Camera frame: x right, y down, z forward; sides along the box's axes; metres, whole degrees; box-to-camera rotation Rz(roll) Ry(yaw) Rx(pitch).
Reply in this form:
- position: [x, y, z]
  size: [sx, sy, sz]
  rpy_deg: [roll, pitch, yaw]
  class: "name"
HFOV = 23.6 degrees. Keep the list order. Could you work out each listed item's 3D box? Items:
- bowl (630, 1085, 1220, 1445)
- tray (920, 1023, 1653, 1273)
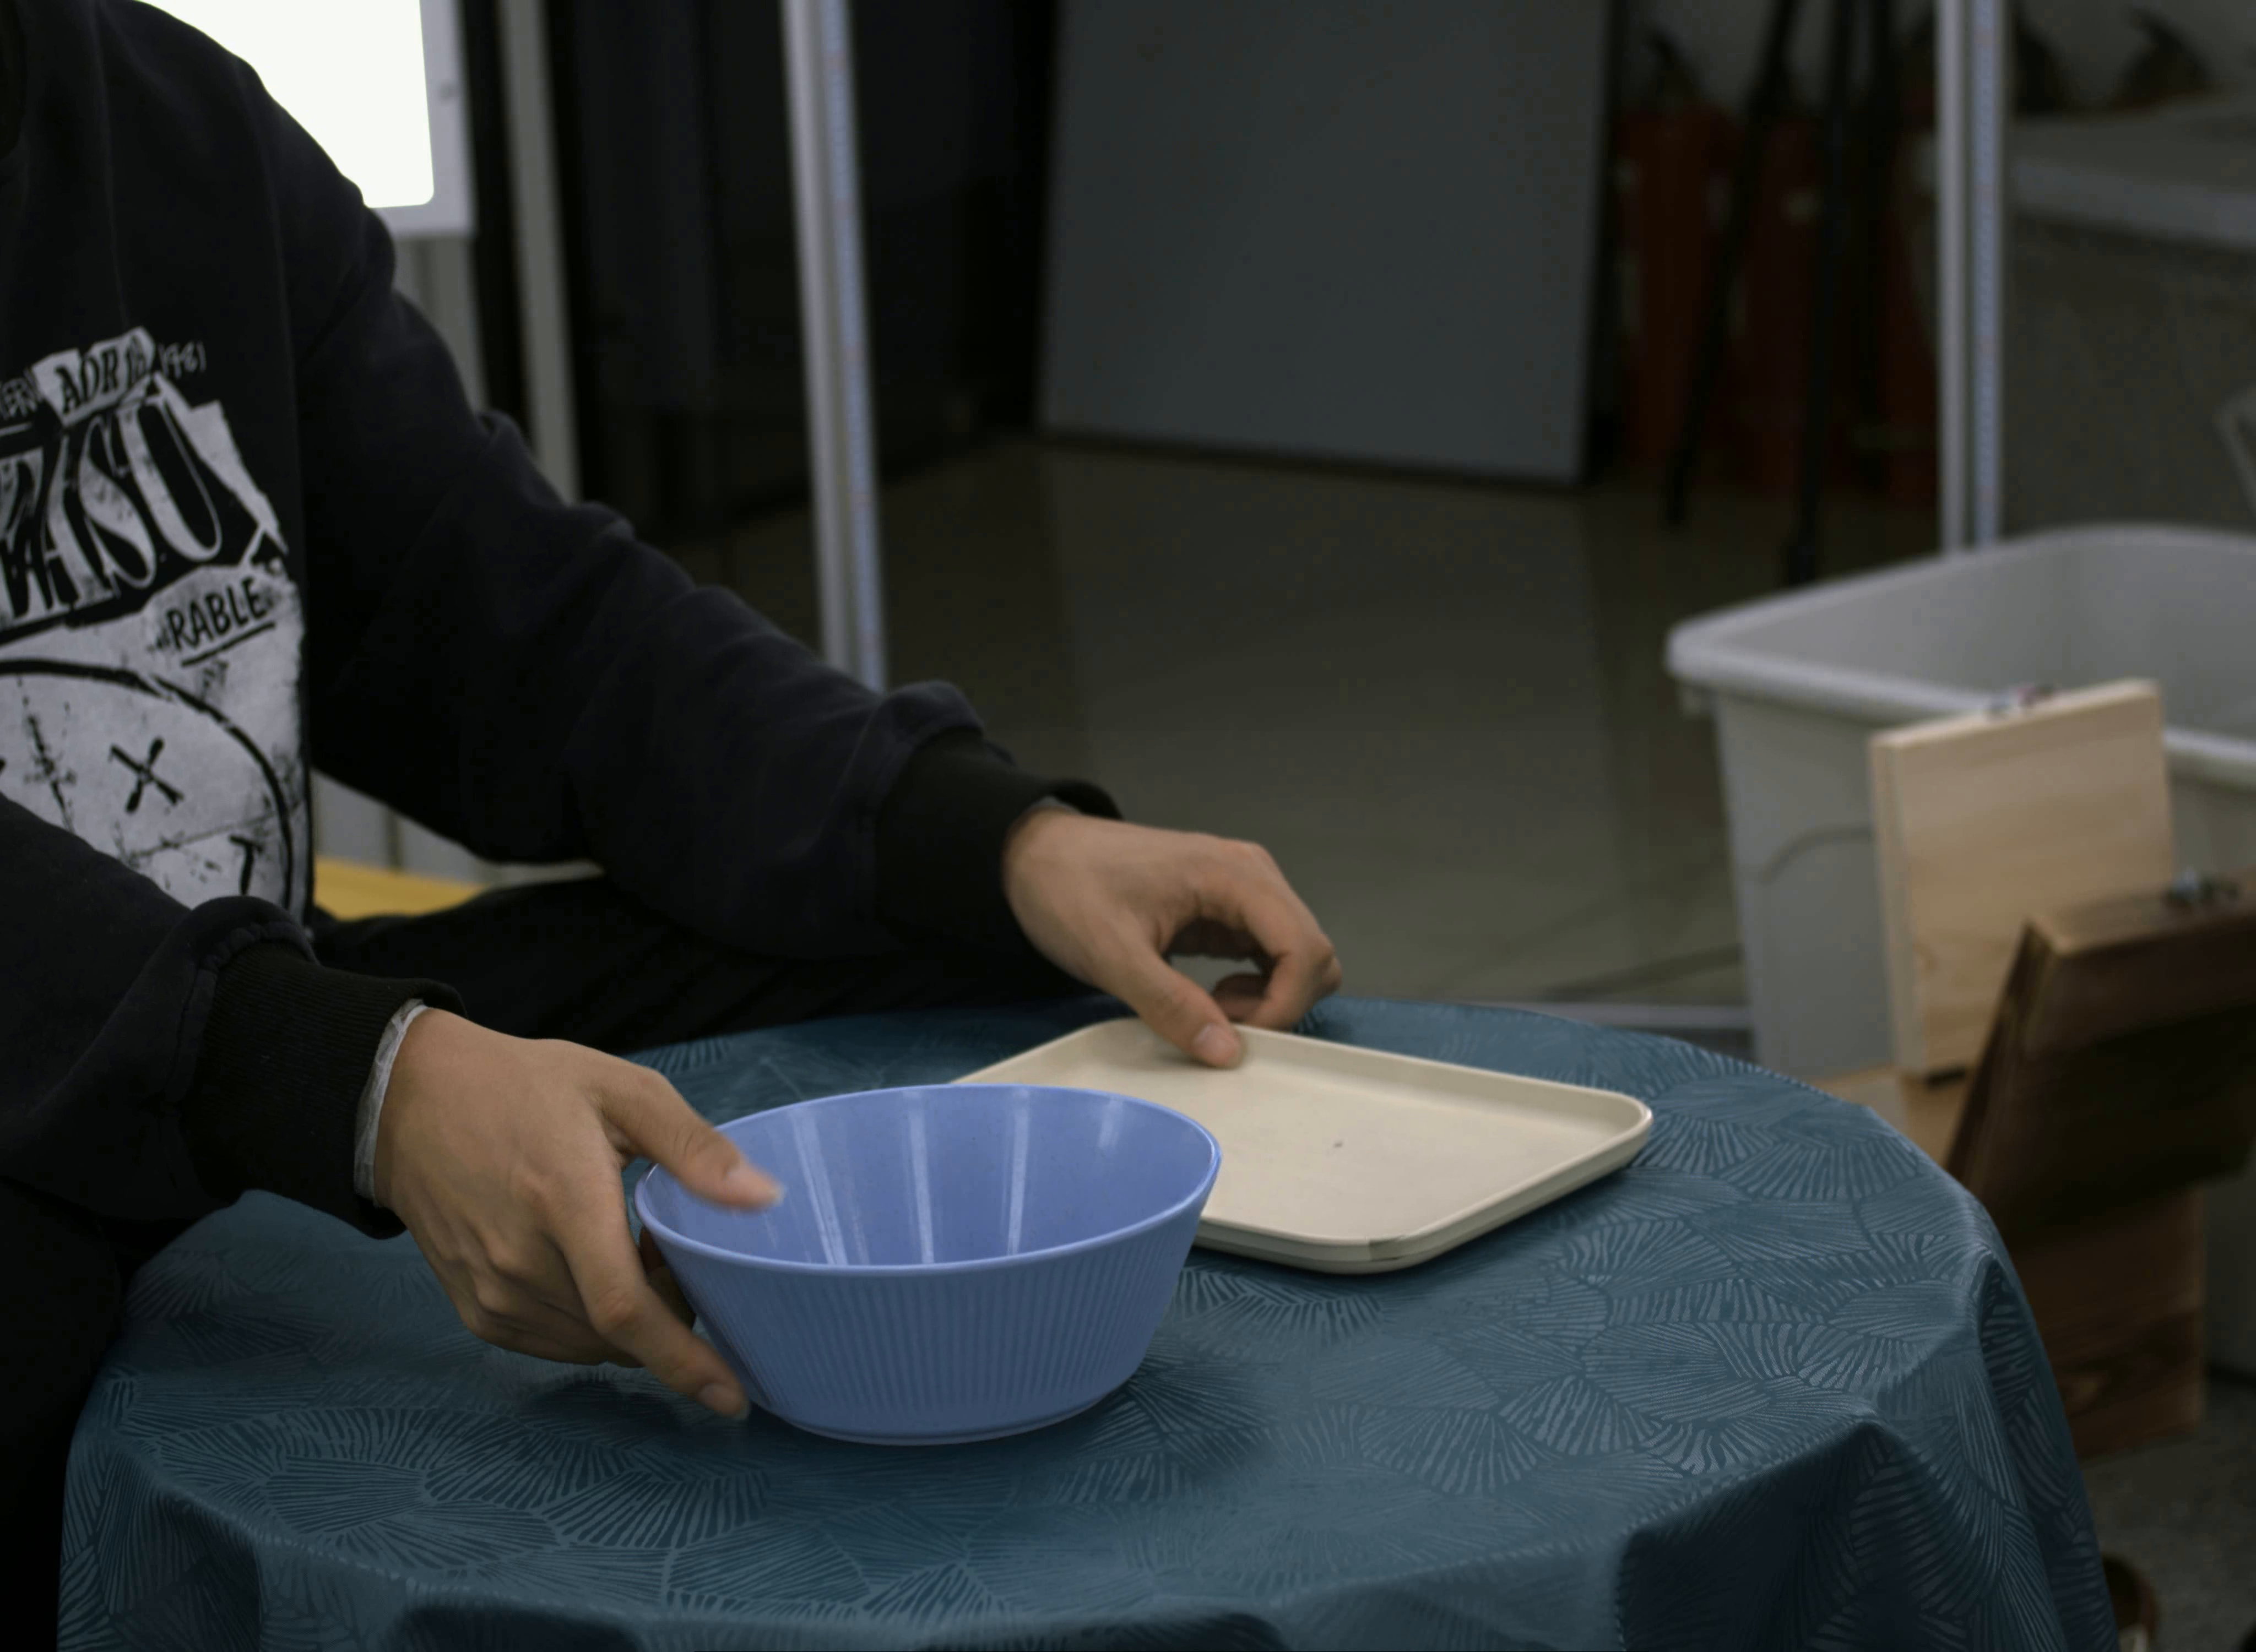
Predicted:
- position: [-0.058, 0.132, 1.596]
  size: [0.174, 0.071, 0.176]
  rpy_deg: [-3, 14, 0]
  class: "bowl"
- position: [0.042, 0.106, 1.785]
  size: [0.241, 0.017, 0.168]
  rpy_deg: [8, 18, 41]
  class: "tray"
